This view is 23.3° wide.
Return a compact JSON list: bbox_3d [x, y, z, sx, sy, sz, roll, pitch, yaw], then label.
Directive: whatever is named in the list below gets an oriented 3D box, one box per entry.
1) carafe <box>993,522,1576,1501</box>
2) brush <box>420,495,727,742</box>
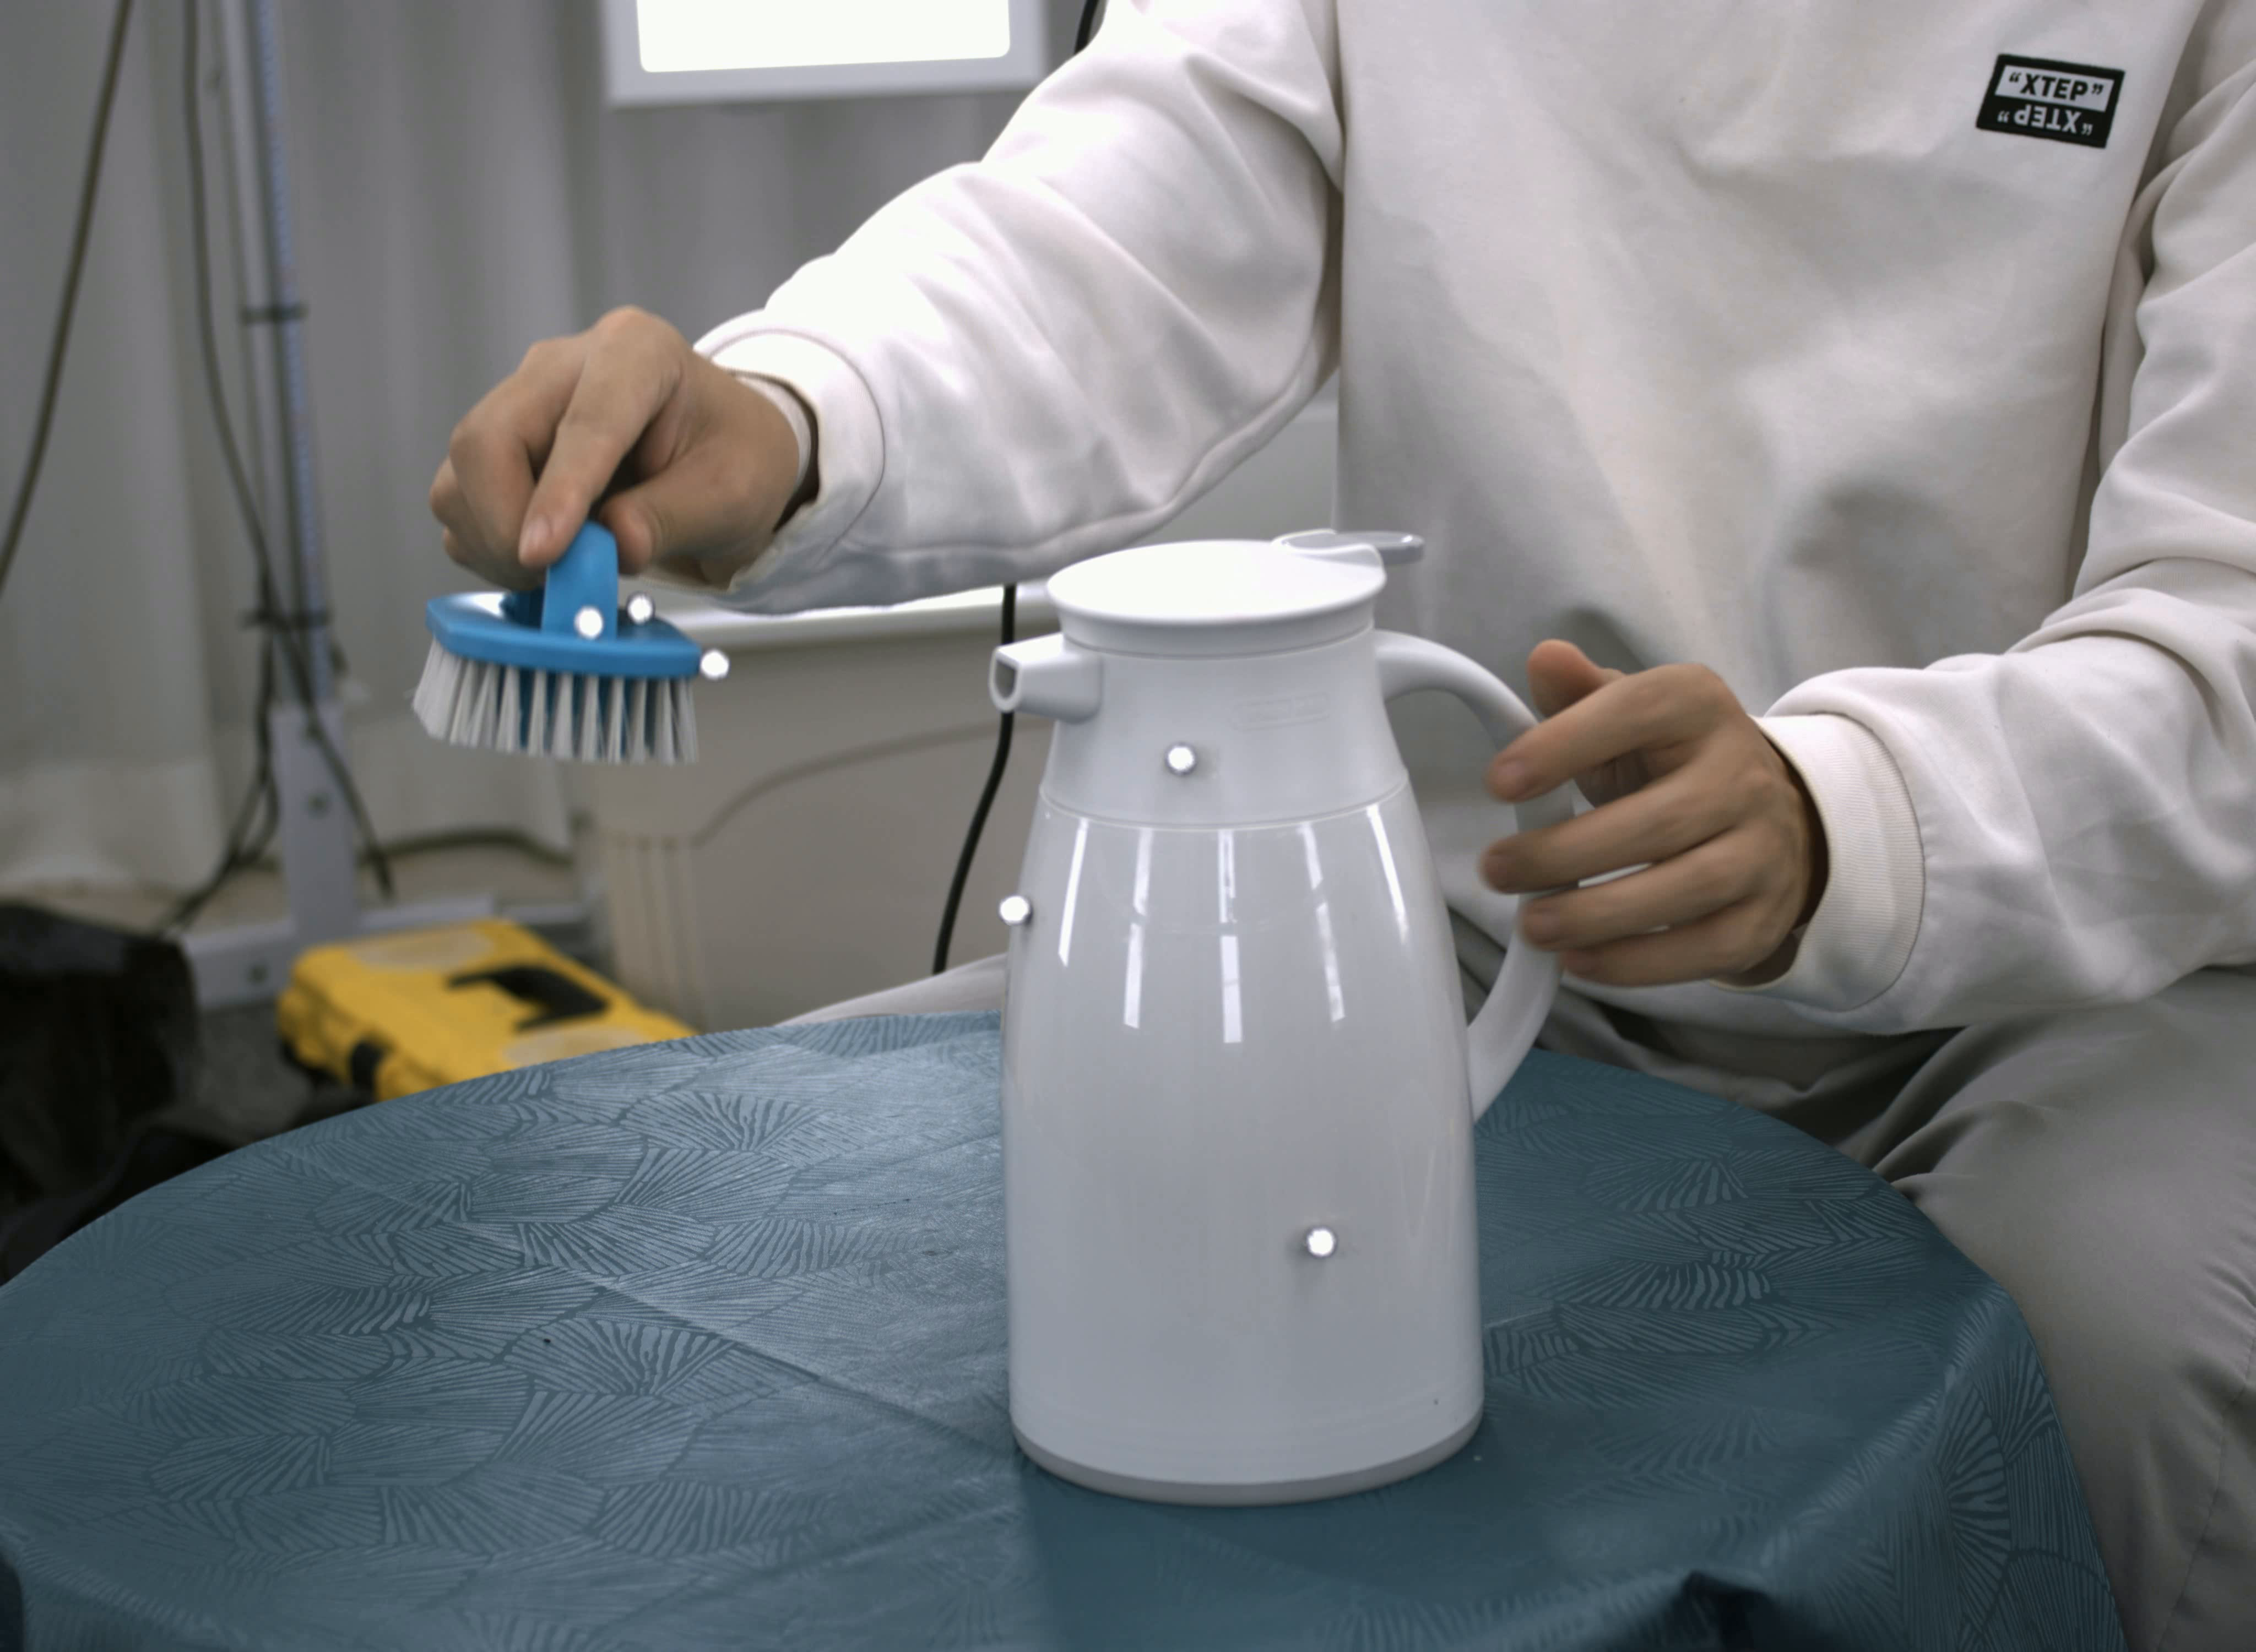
[{"bbox_3d":[0.045,0.042,1.501,0.167,0.248,0.133,-8,14,-23],"label":"carafe"},{"bbox_3d":[-0.160,-0.061,1.567,0.084,0.064,0.142,1,6,-10],"label":"brush"}]
